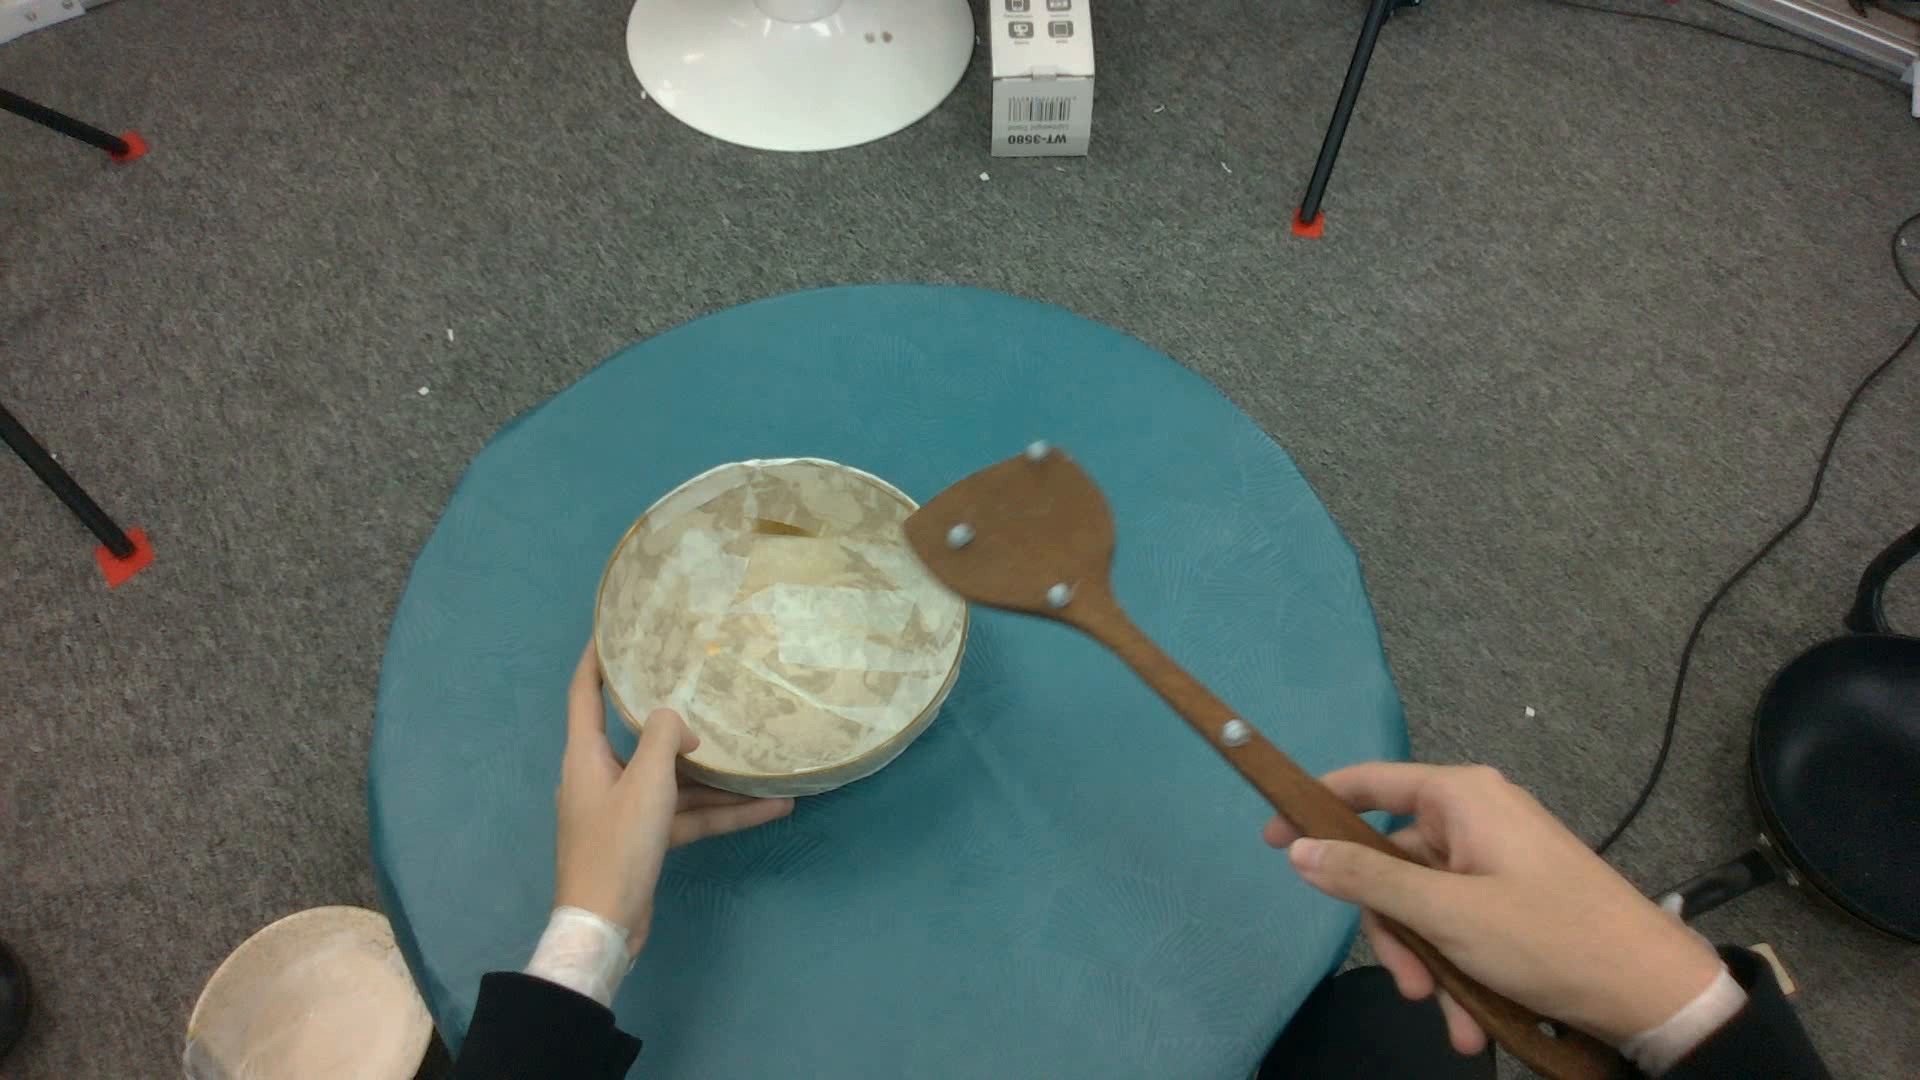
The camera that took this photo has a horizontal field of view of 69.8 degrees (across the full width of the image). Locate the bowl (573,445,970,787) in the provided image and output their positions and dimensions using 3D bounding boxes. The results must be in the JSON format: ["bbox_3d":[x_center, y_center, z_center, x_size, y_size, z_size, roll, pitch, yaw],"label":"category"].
[{"bbox_3d":[-0.103,0.056,0.769,0.215,0.094,0.215,3,56,-5],"label":"bowl"}]

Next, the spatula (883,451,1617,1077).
[{"bbox_3d":[0.096,0.066,0.552,0.096,0.016,0.386,-29,42,-18],"label":"spatula"}]
